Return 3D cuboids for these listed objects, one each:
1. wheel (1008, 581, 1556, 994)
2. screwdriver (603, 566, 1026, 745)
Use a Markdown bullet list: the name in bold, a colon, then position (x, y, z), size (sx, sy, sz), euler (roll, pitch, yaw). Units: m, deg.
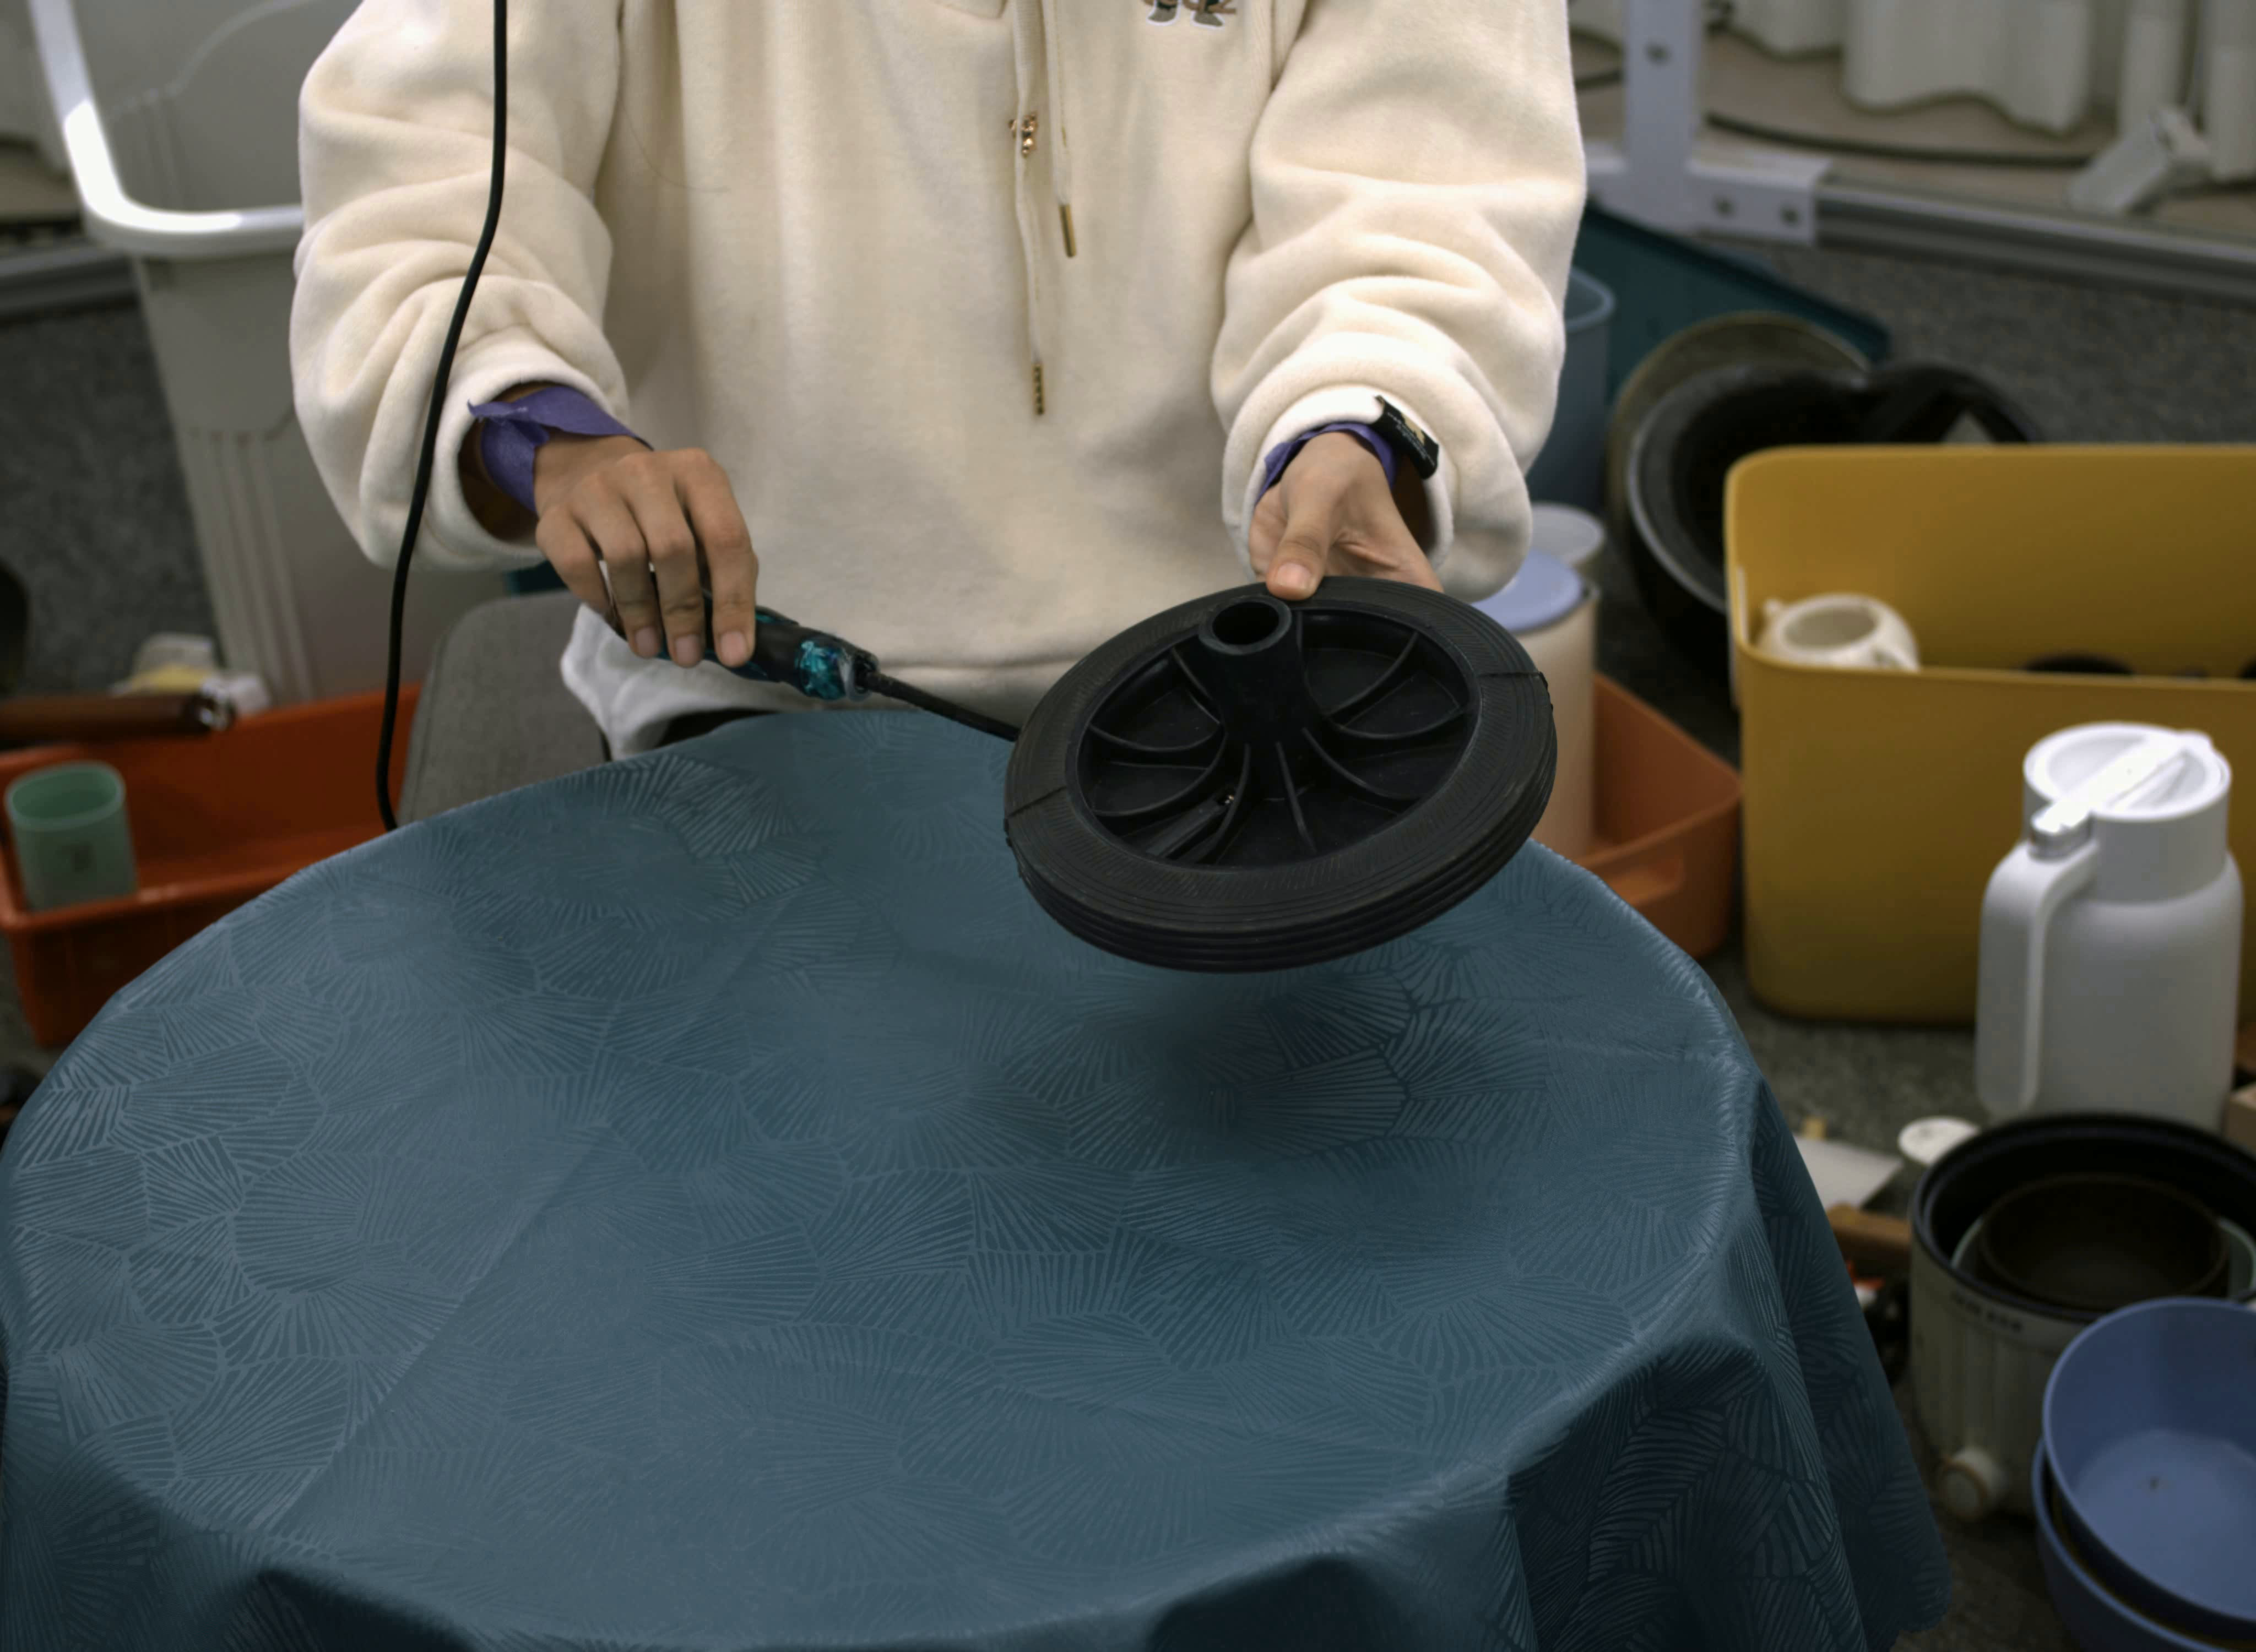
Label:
- **wheel**: position (0.046, -0.032, 1.878), size (0.186, 0.078, 0.193), euler (8, 45, 26)
- **screwdriver**: position (-0.110, -0.055, 1.983), size (0.189, 0.033, 0.034), euler (20, 34, 34)
